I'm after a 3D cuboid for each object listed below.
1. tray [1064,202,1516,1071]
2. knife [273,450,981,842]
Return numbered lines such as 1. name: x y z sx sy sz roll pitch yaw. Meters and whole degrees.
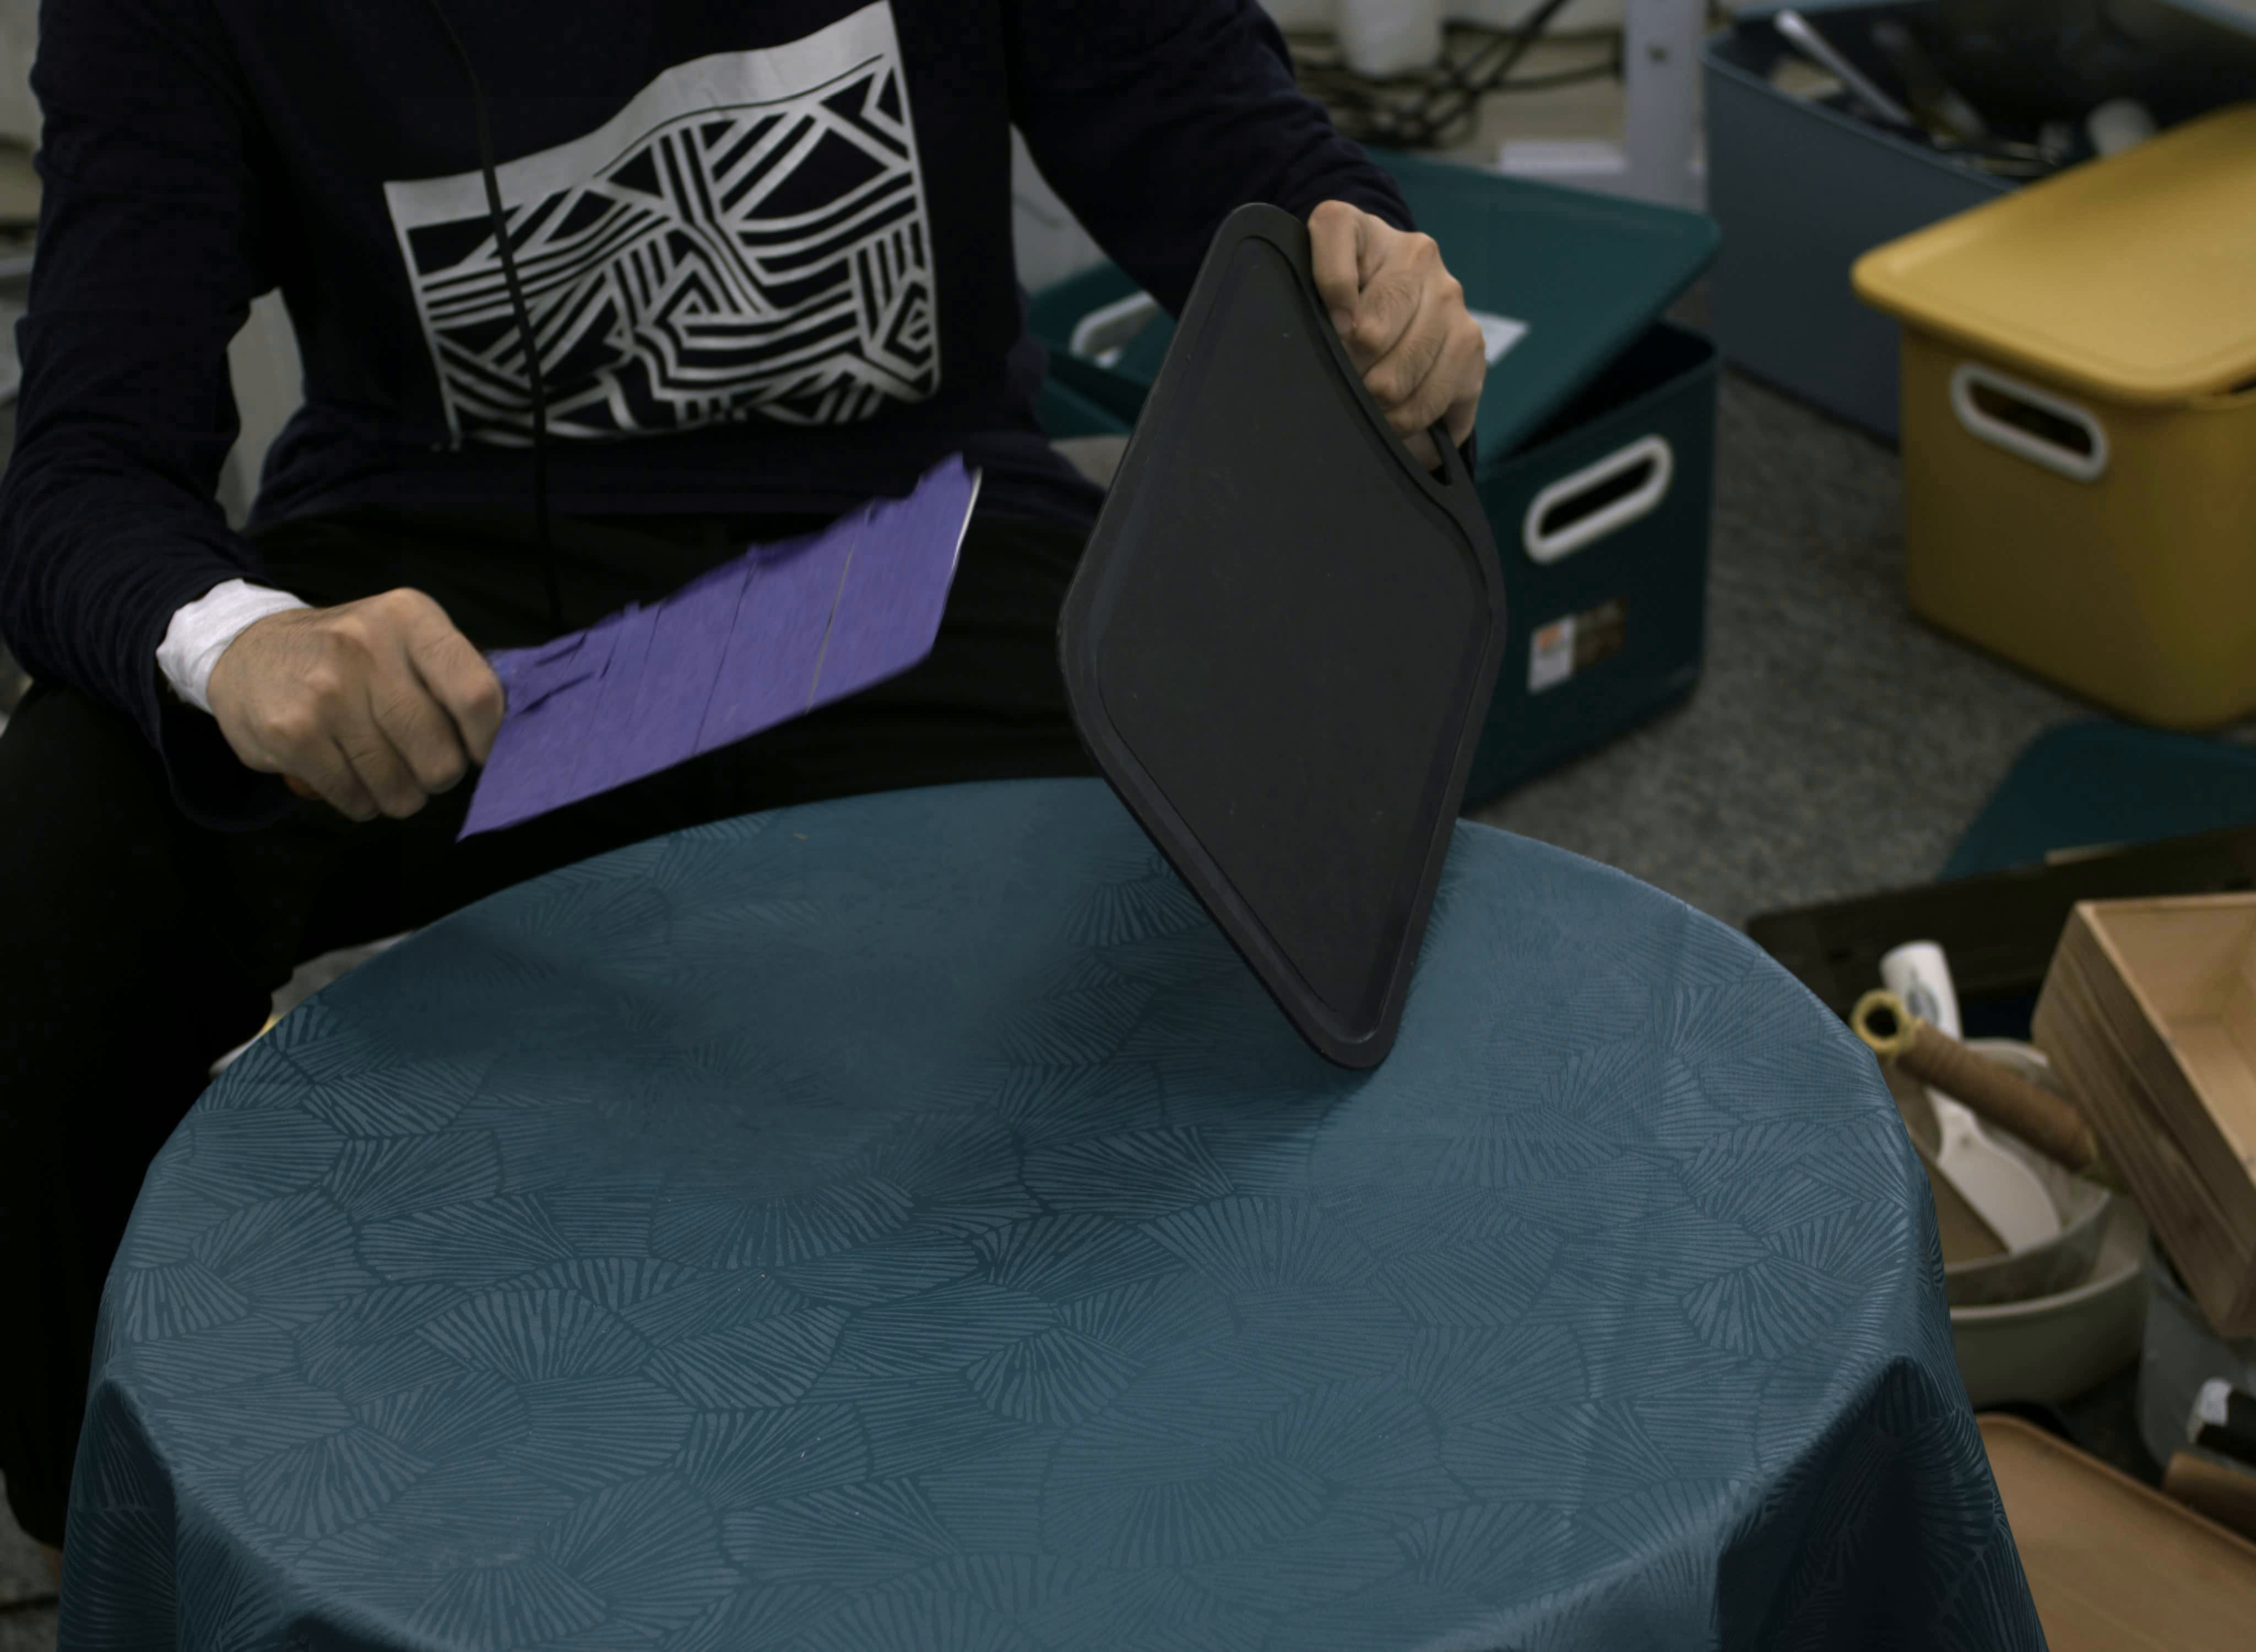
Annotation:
1. tray: 0.064 -0.078 1.986 0.009 0.209 0.332 -20 30 31
2. knife: -0.180 -0.043 1.893 0.311 0.032 0.106 -22 34 33
